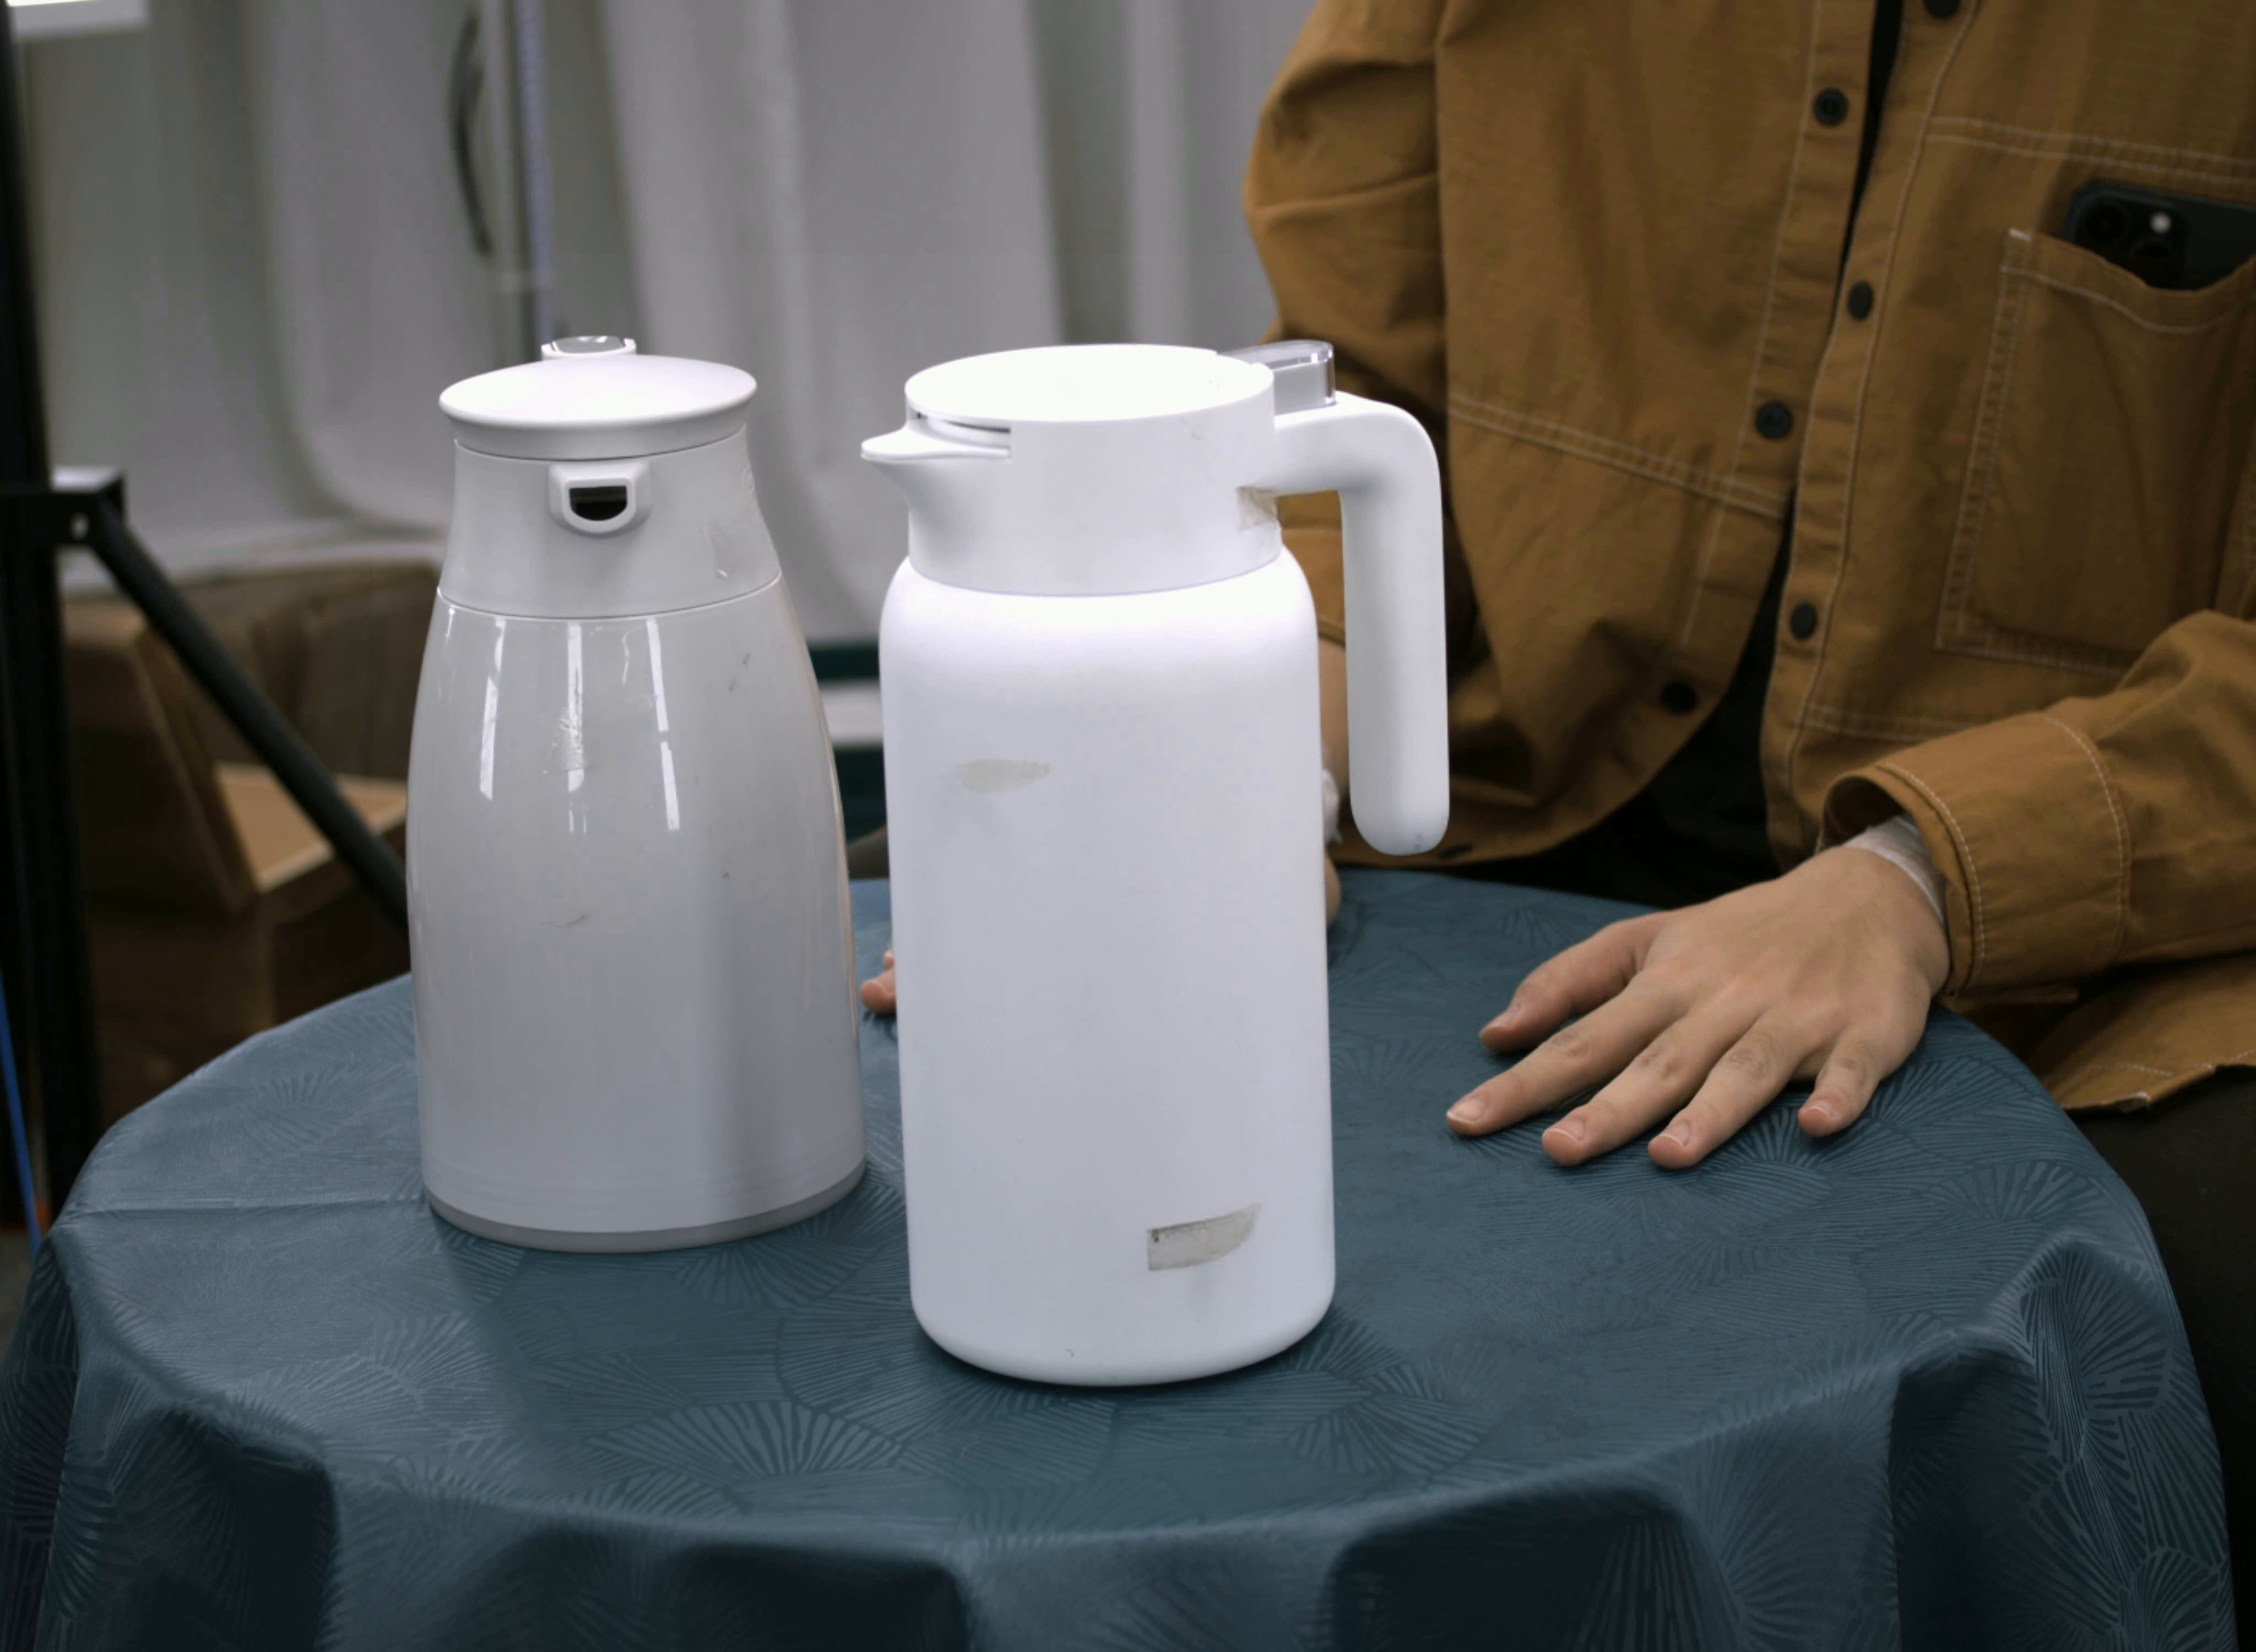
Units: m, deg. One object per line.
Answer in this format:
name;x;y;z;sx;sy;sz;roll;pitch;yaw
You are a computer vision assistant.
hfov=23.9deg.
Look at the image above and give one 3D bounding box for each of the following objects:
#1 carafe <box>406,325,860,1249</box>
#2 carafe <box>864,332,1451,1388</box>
carafe;-0.150;-0.020;1.576;0.131;0.249;0.169;-3;14;-4
carafe;0.009;0.005;1.429;0.169;0.269;0.126;-11;15;-30
